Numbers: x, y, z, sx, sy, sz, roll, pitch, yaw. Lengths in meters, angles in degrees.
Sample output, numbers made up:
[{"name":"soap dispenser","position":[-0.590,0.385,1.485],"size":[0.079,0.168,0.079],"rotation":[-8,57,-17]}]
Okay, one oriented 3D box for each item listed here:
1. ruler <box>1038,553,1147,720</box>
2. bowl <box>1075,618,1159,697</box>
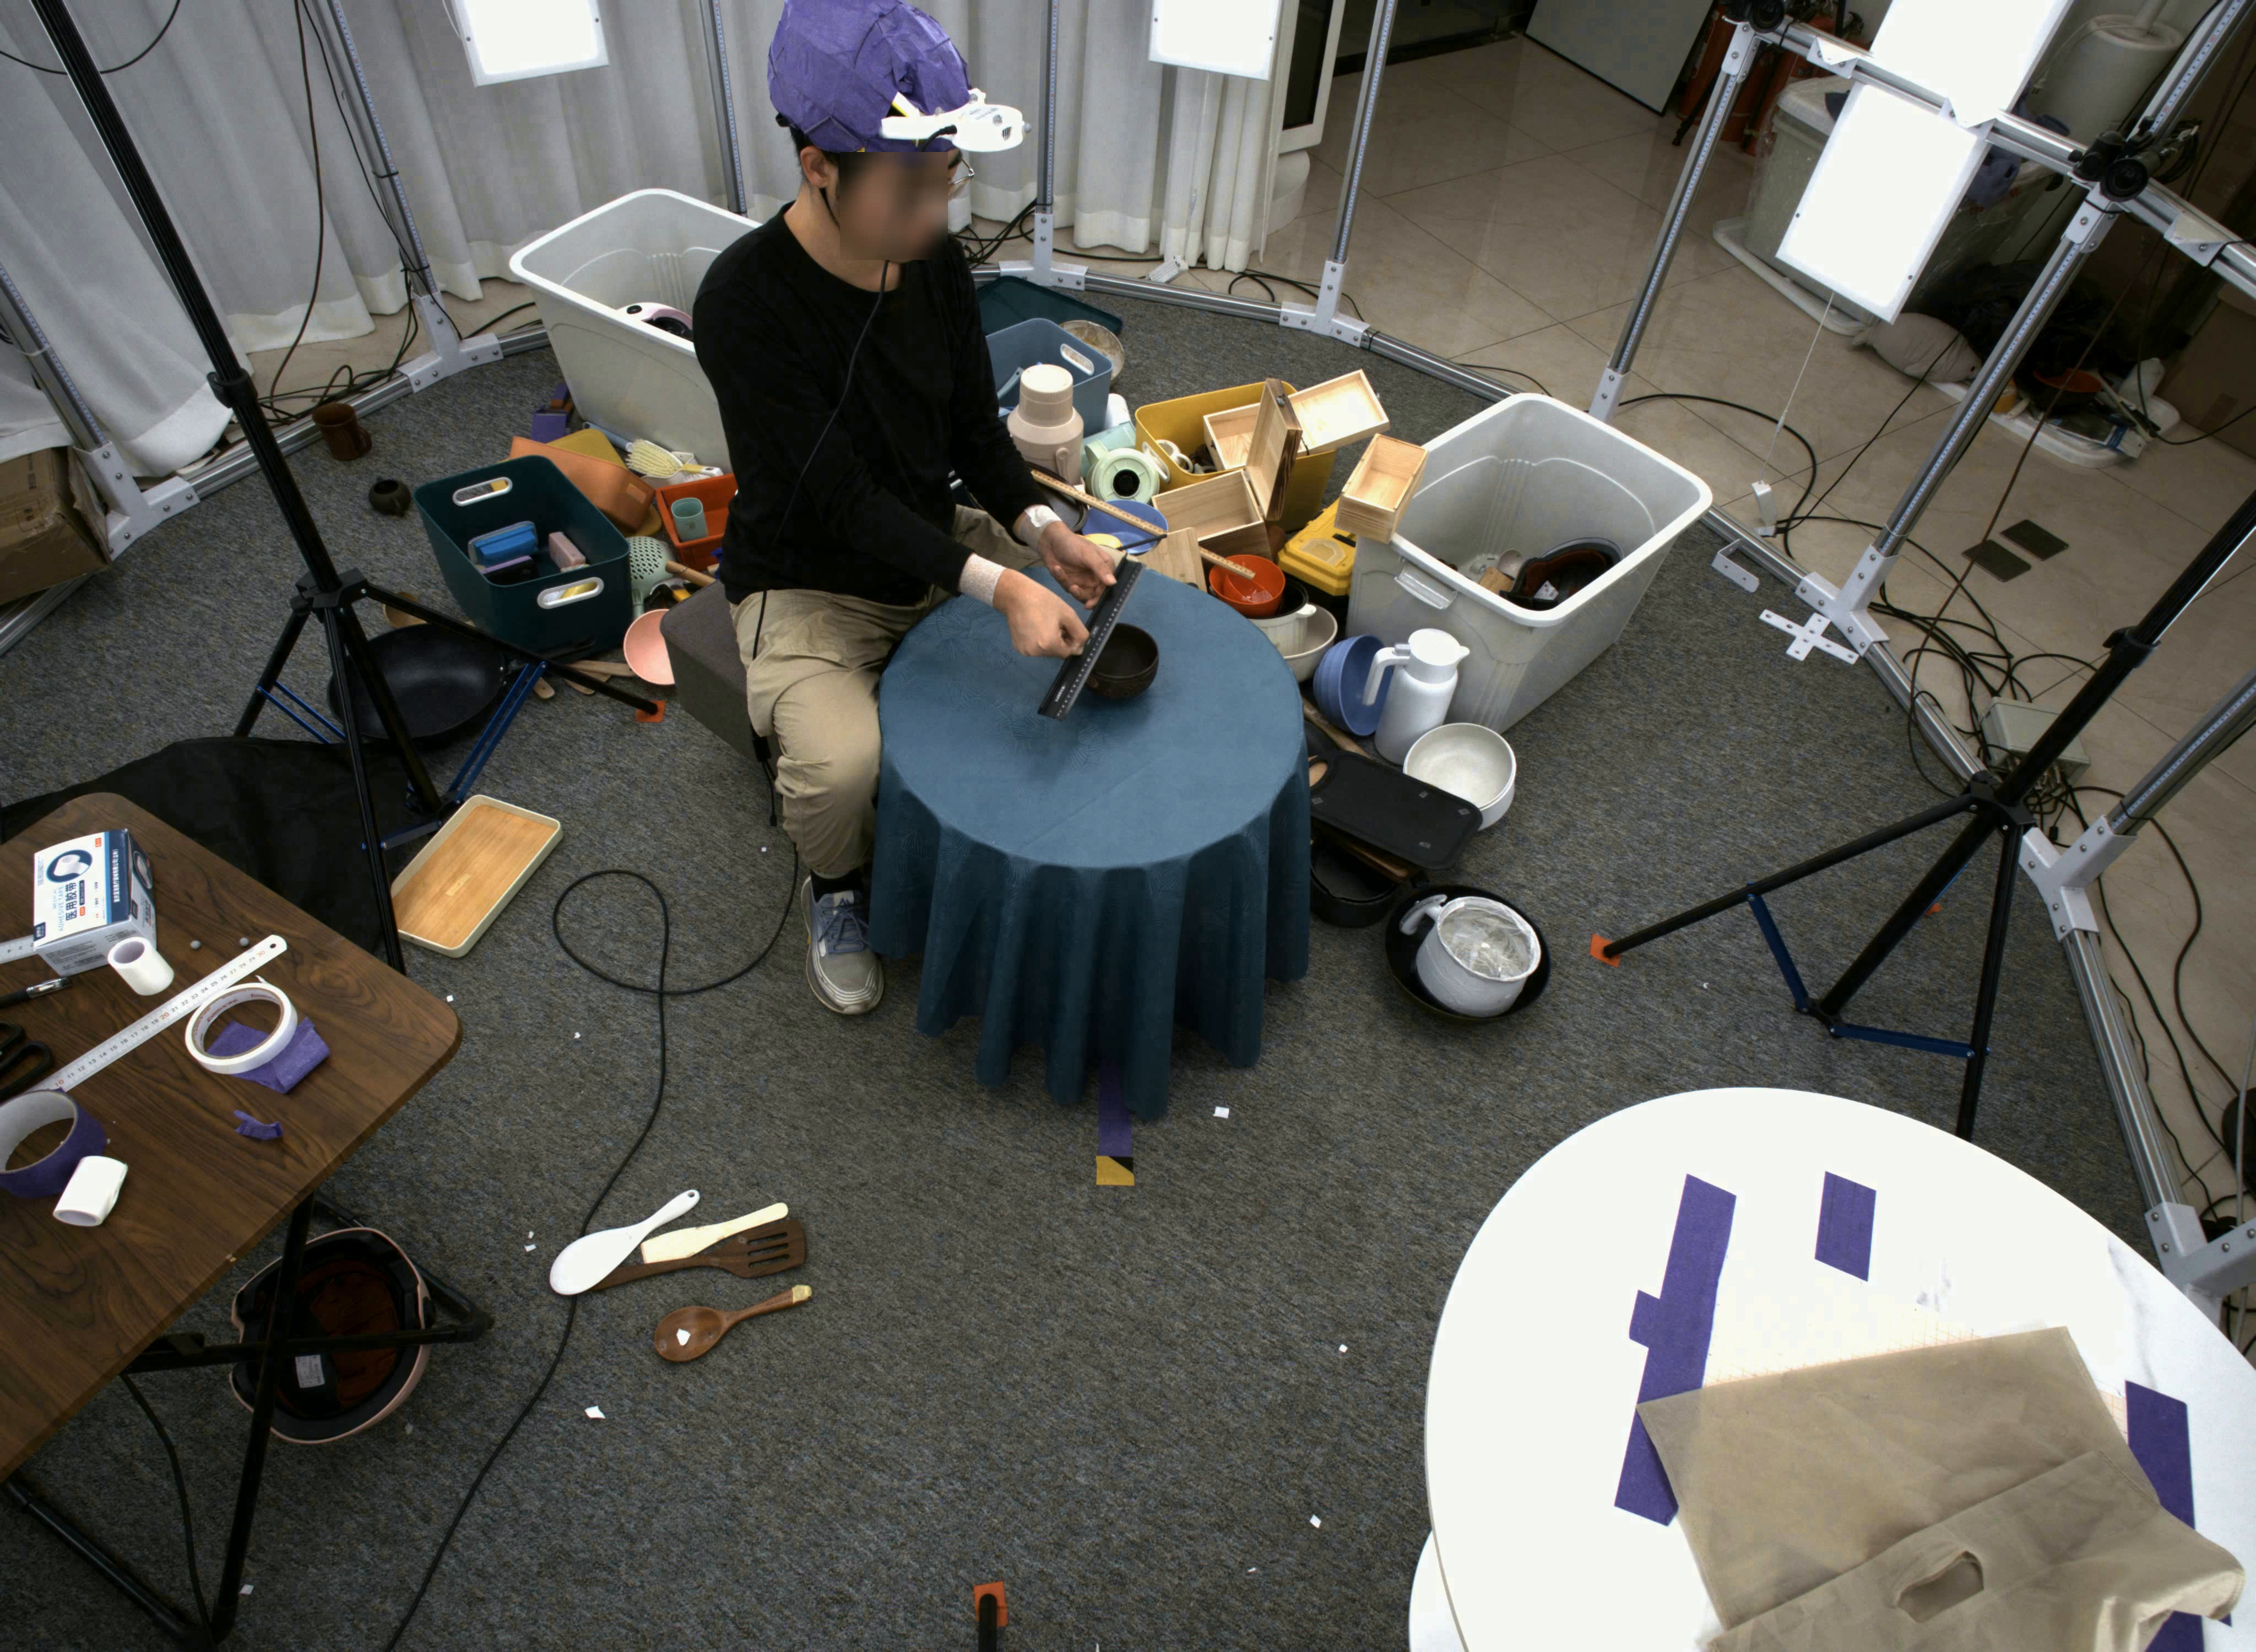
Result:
[{"name":"ruler","position":[-0.046,-0.267,1.775],"size":[0.039,0.017,0.318],"rotation":[18,57,12]},{"name":"bowl","position":[-0.018,-0.231,1.816],"size":[0.118,0.068,0.121],"rotation":[5,52,-7]}]
